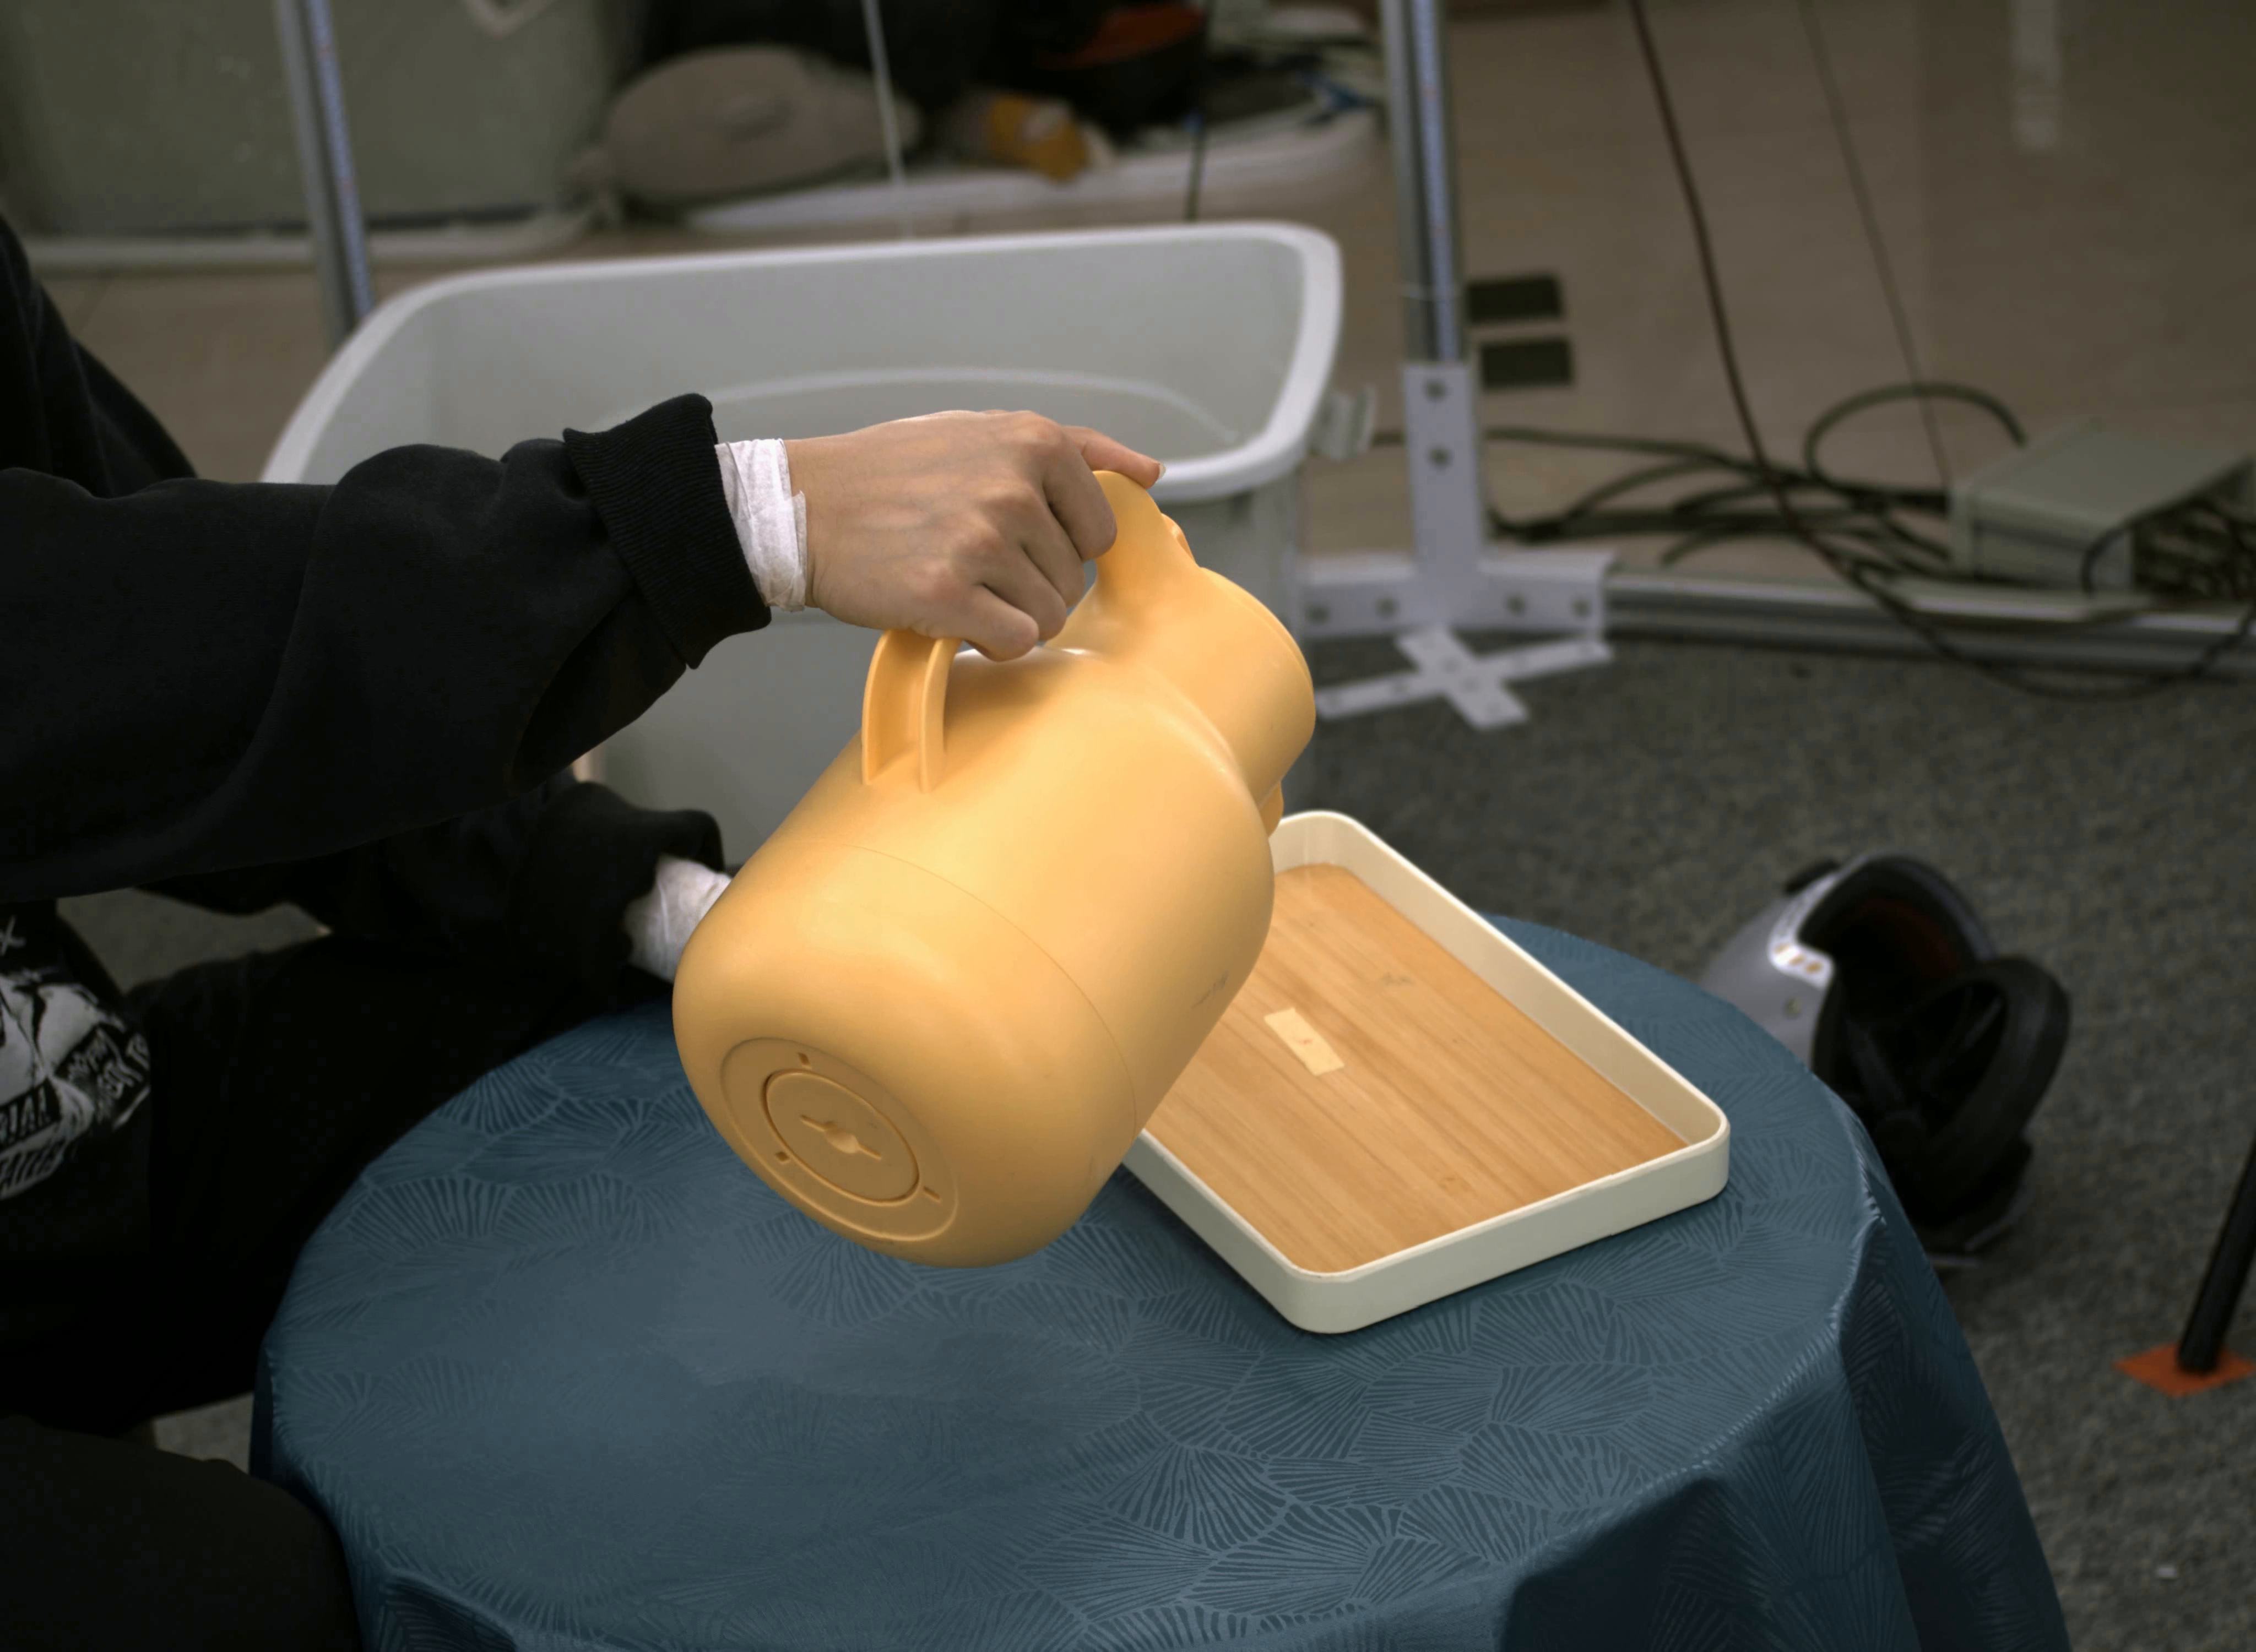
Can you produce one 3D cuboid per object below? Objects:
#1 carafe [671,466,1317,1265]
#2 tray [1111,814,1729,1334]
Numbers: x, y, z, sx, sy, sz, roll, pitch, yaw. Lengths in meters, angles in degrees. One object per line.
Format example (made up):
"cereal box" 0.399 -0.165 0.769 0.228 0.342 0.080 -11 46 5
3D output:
"carafe" -0.041 0.004 1.953 0.163 0.206 0.257 6 45 36
"tray" 0.074 0.089 2.172 0.190 0.028 0.296 -18 33 -24
